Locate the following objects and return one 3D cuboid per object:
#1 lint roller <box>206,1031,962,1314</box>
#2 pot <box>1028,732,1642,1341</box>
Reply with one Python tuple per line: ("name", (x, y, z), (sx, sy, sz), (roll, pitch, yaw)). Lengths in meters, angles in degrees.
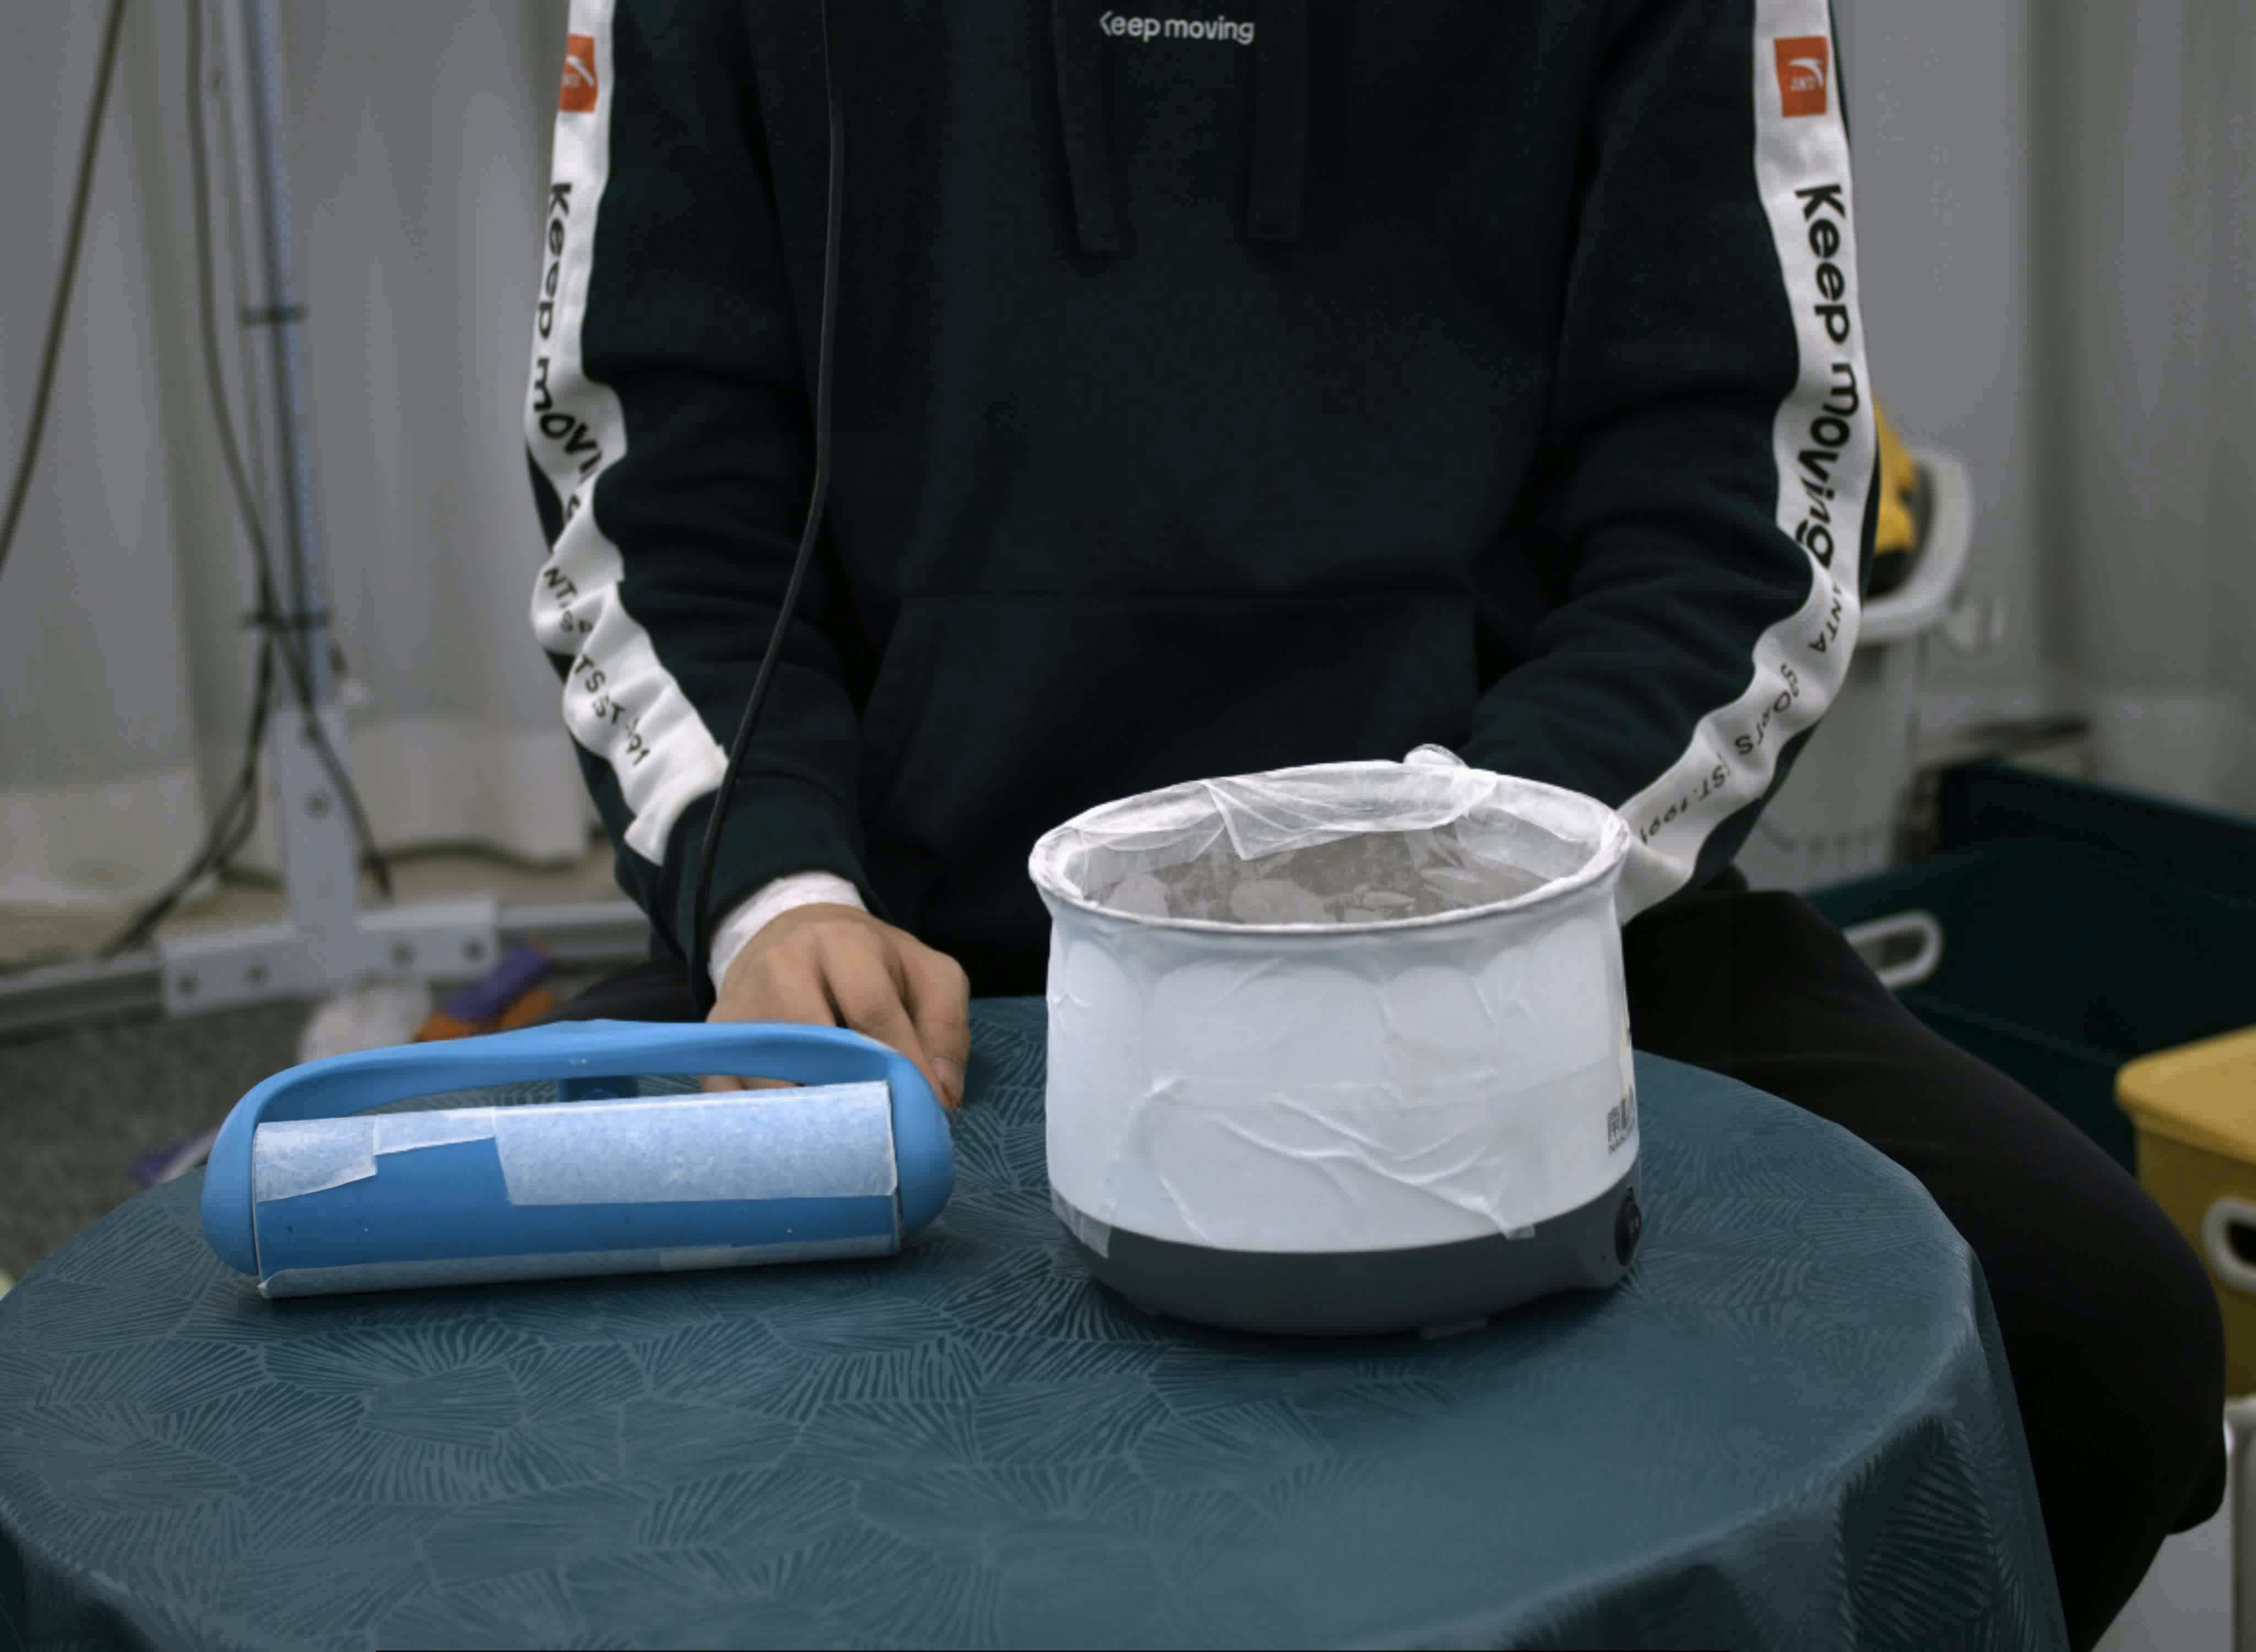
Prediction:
("lint roller", (-0.172, 0.096, 1.713), (0.228, 0.067, 0.182), (-7, 16, -6))
("pot", (0.071, 0.057, 1.643), (0.179, 0.136, 0.234), (2, 17, 20))
